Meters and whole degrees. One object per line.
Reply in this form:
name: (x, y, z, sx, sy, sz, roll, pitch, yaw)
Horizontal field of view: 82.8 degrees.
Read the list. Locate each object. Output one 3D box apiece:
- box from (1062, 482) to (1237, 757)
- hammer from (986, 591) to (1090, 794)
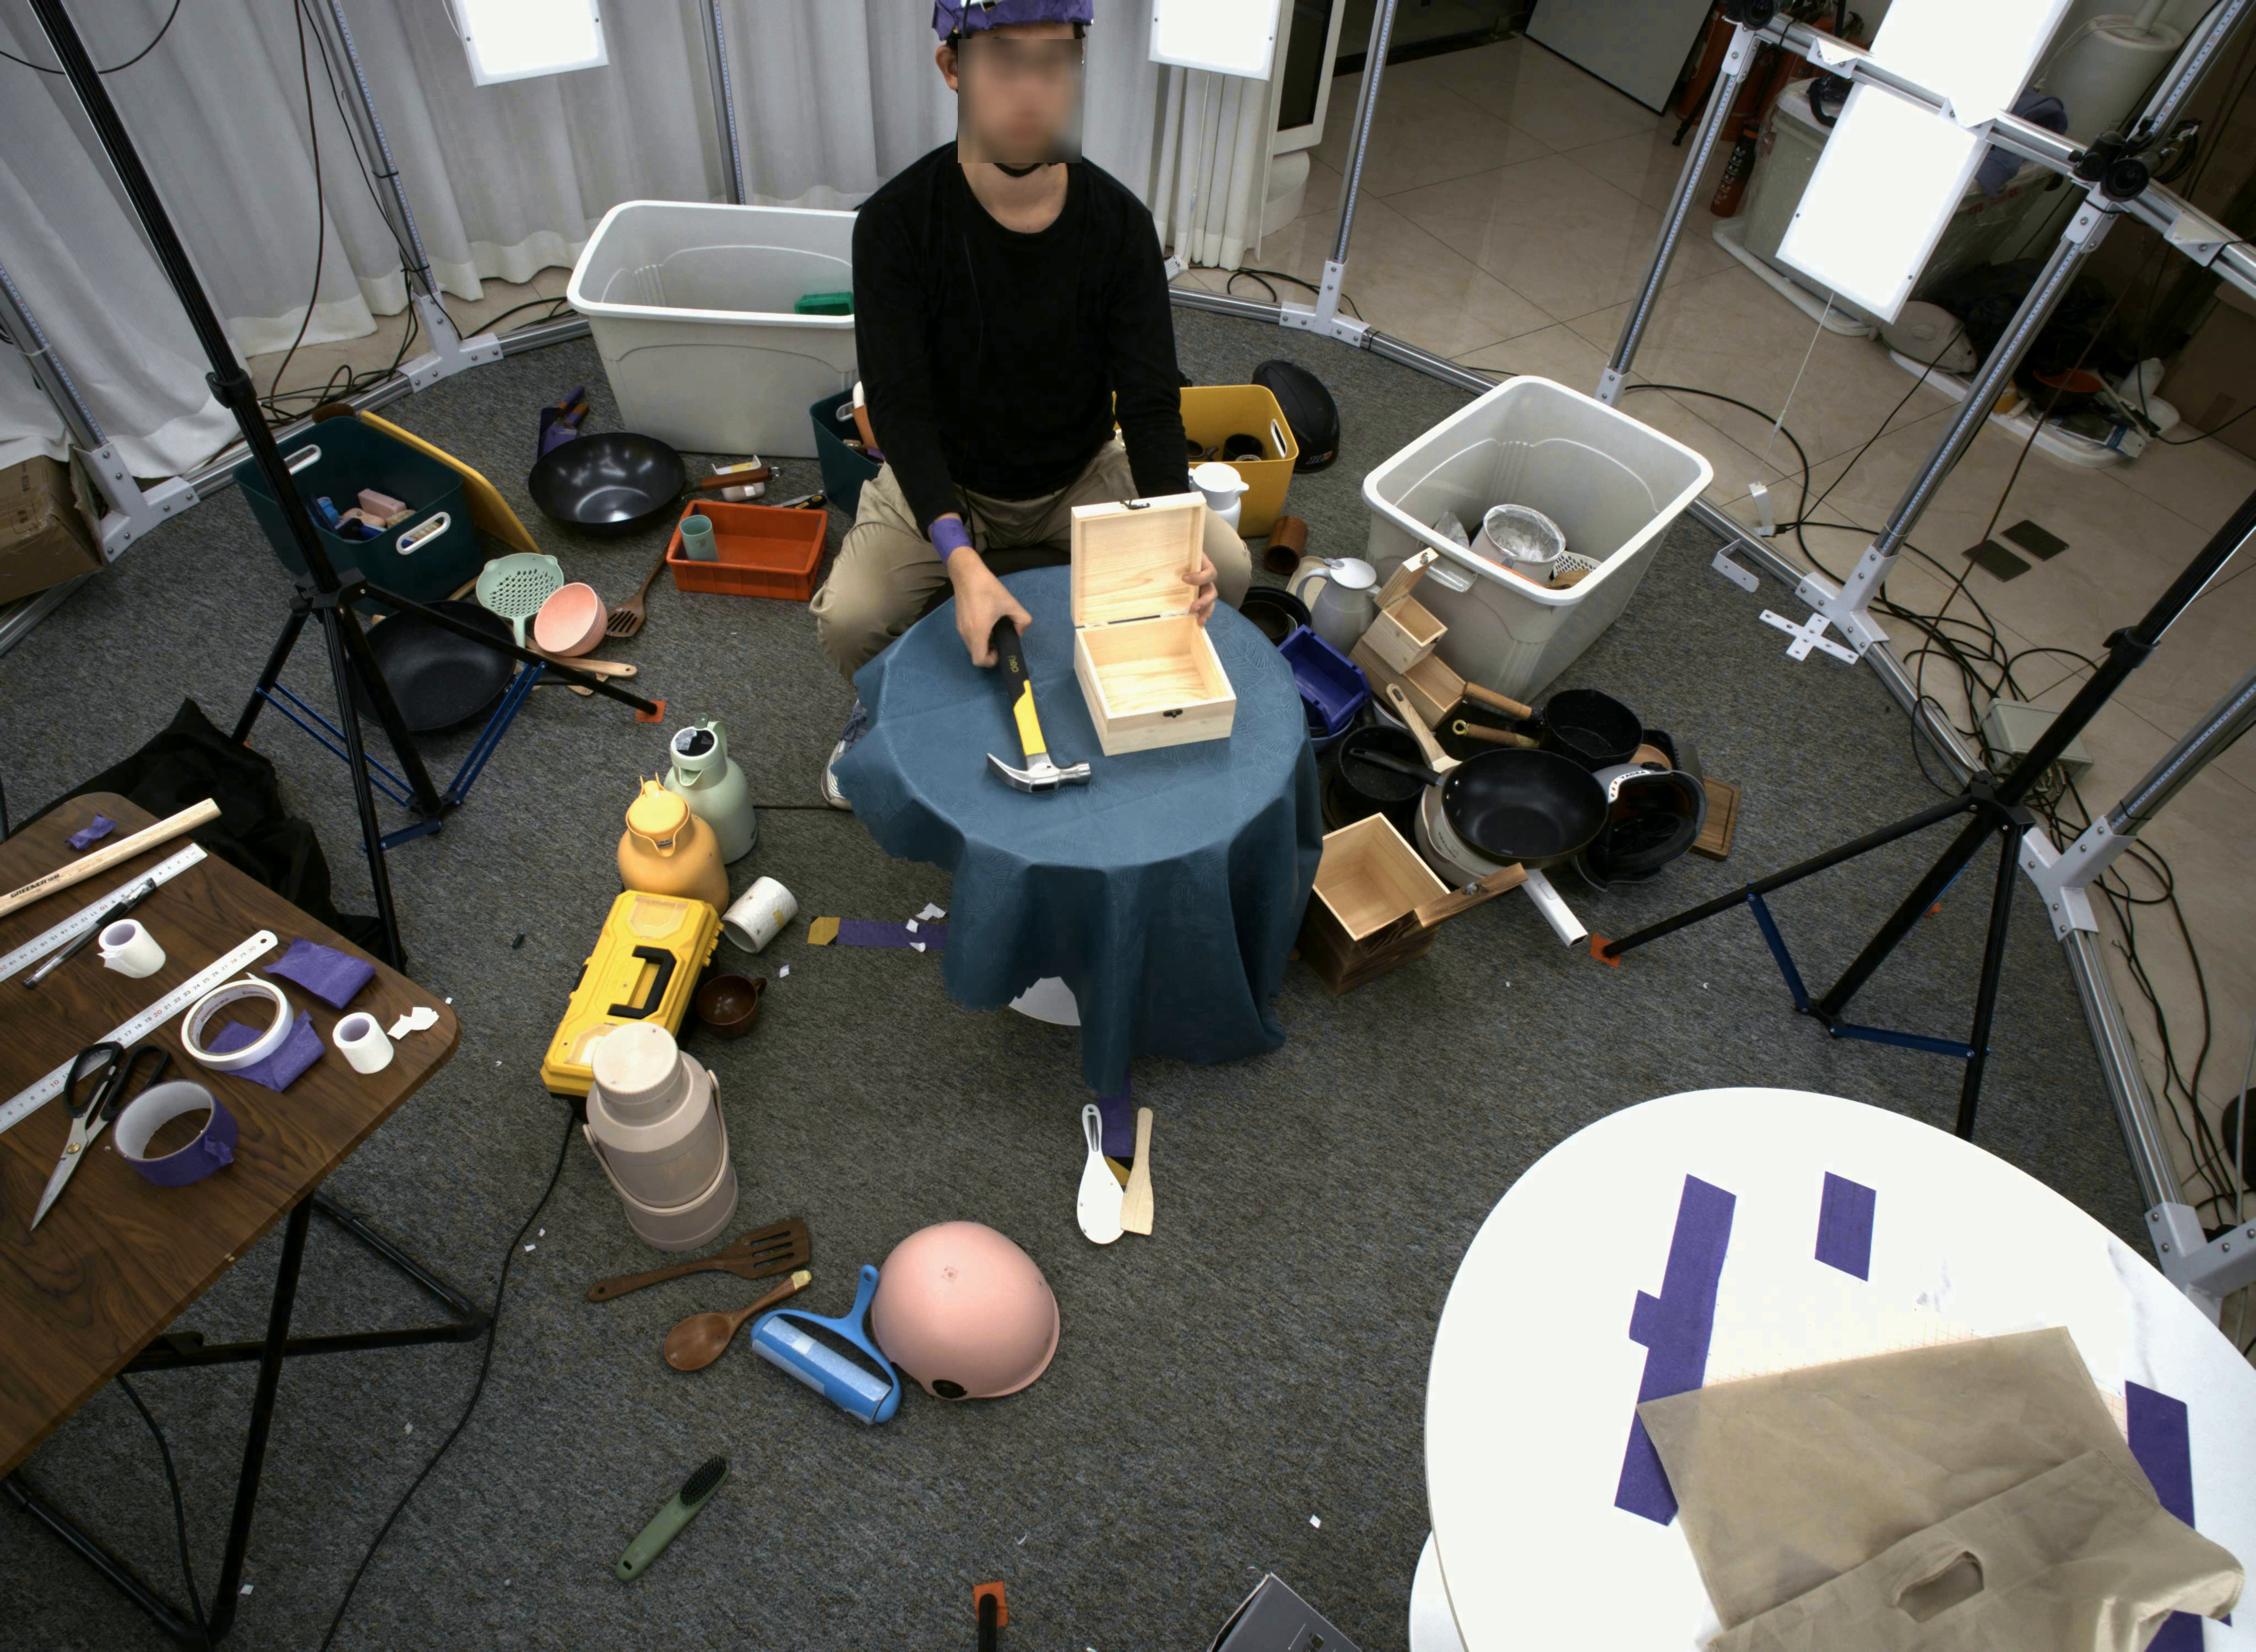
box: (0.030, -0.281, 1.754, 0.181, 0.247, 0.272, -11, 51, -11)
hammer: (-0.149, -0.192, 1.779, 0.131, 0.031, 0.346, -8, 58, -10)
